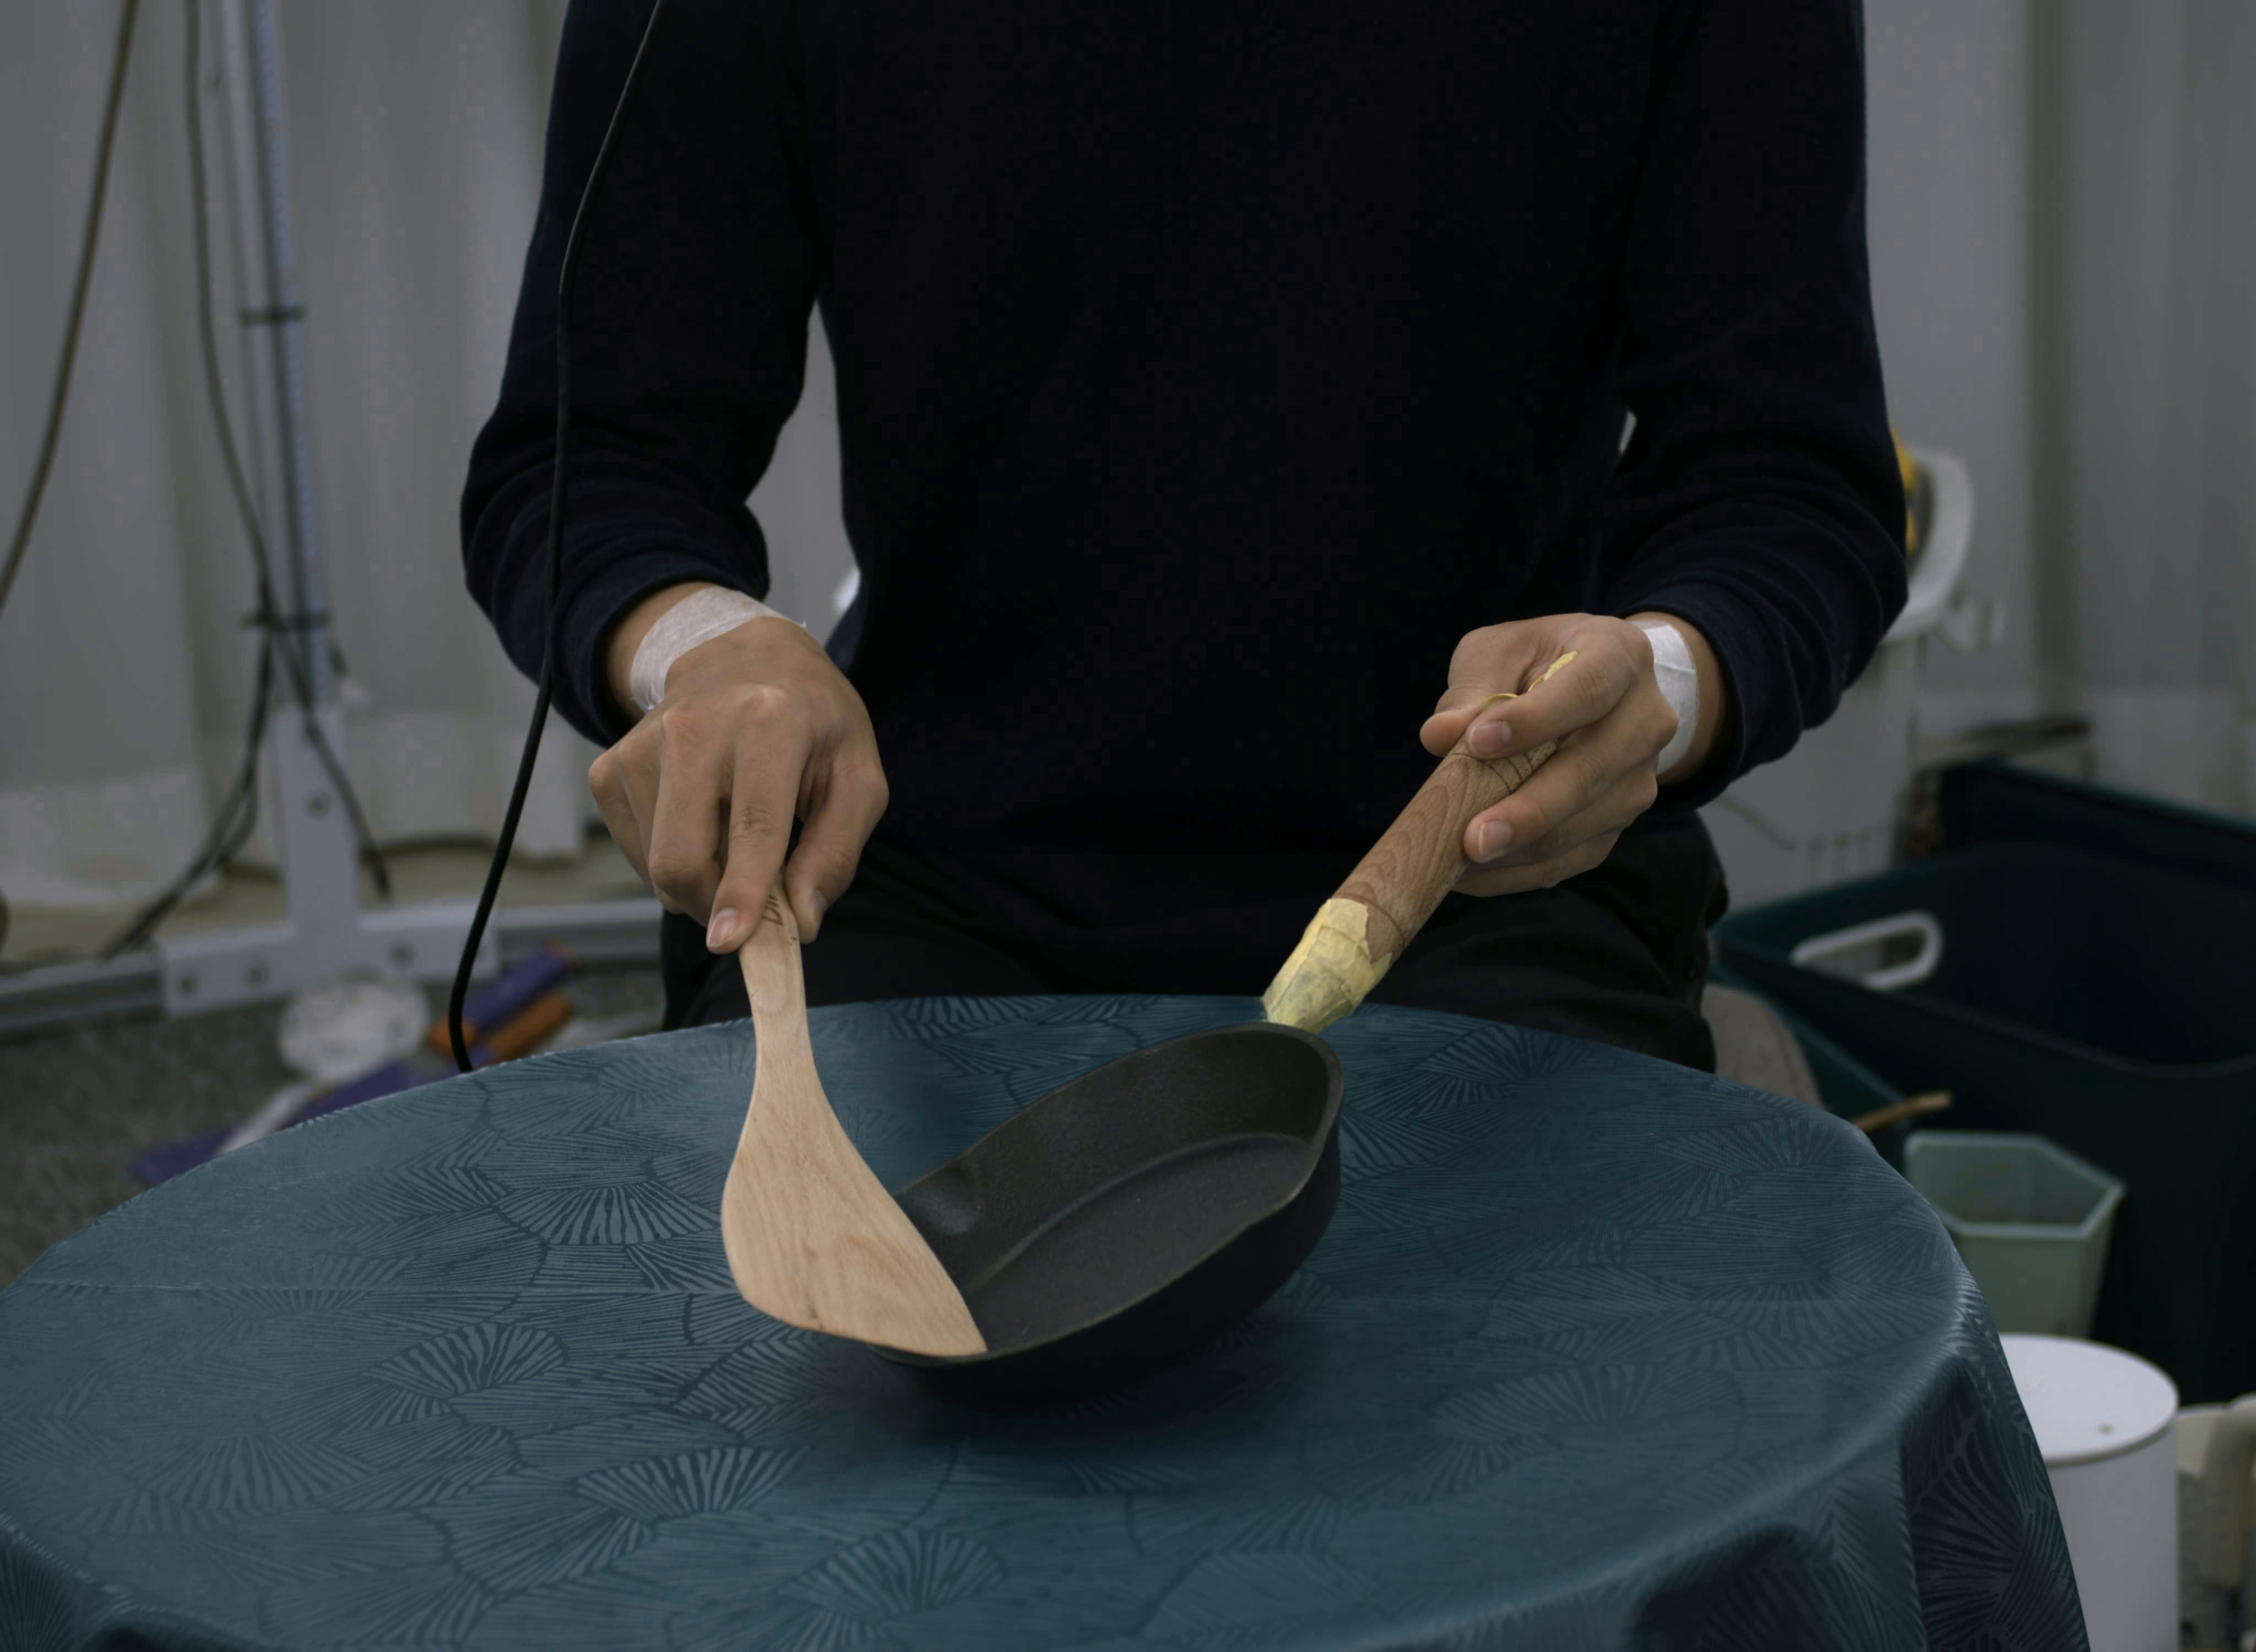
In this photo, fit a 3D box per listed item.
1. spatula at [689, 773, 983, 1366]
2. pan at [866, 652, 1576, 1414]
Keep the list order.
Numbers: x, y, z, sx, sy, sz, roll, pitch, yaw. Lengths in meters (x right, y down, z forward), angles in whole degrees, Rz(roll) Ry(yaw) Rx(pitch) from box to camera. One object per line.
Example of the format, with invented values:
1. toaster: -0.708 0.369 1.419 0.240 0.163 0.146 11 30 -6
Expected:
1. spatula: -0.099 0.067 1.641 0.079 0.016 0.332 20 25 -22
2. pan: 0.047 0.059 1.598 0.169 0.049 0.326 -3 34 51
